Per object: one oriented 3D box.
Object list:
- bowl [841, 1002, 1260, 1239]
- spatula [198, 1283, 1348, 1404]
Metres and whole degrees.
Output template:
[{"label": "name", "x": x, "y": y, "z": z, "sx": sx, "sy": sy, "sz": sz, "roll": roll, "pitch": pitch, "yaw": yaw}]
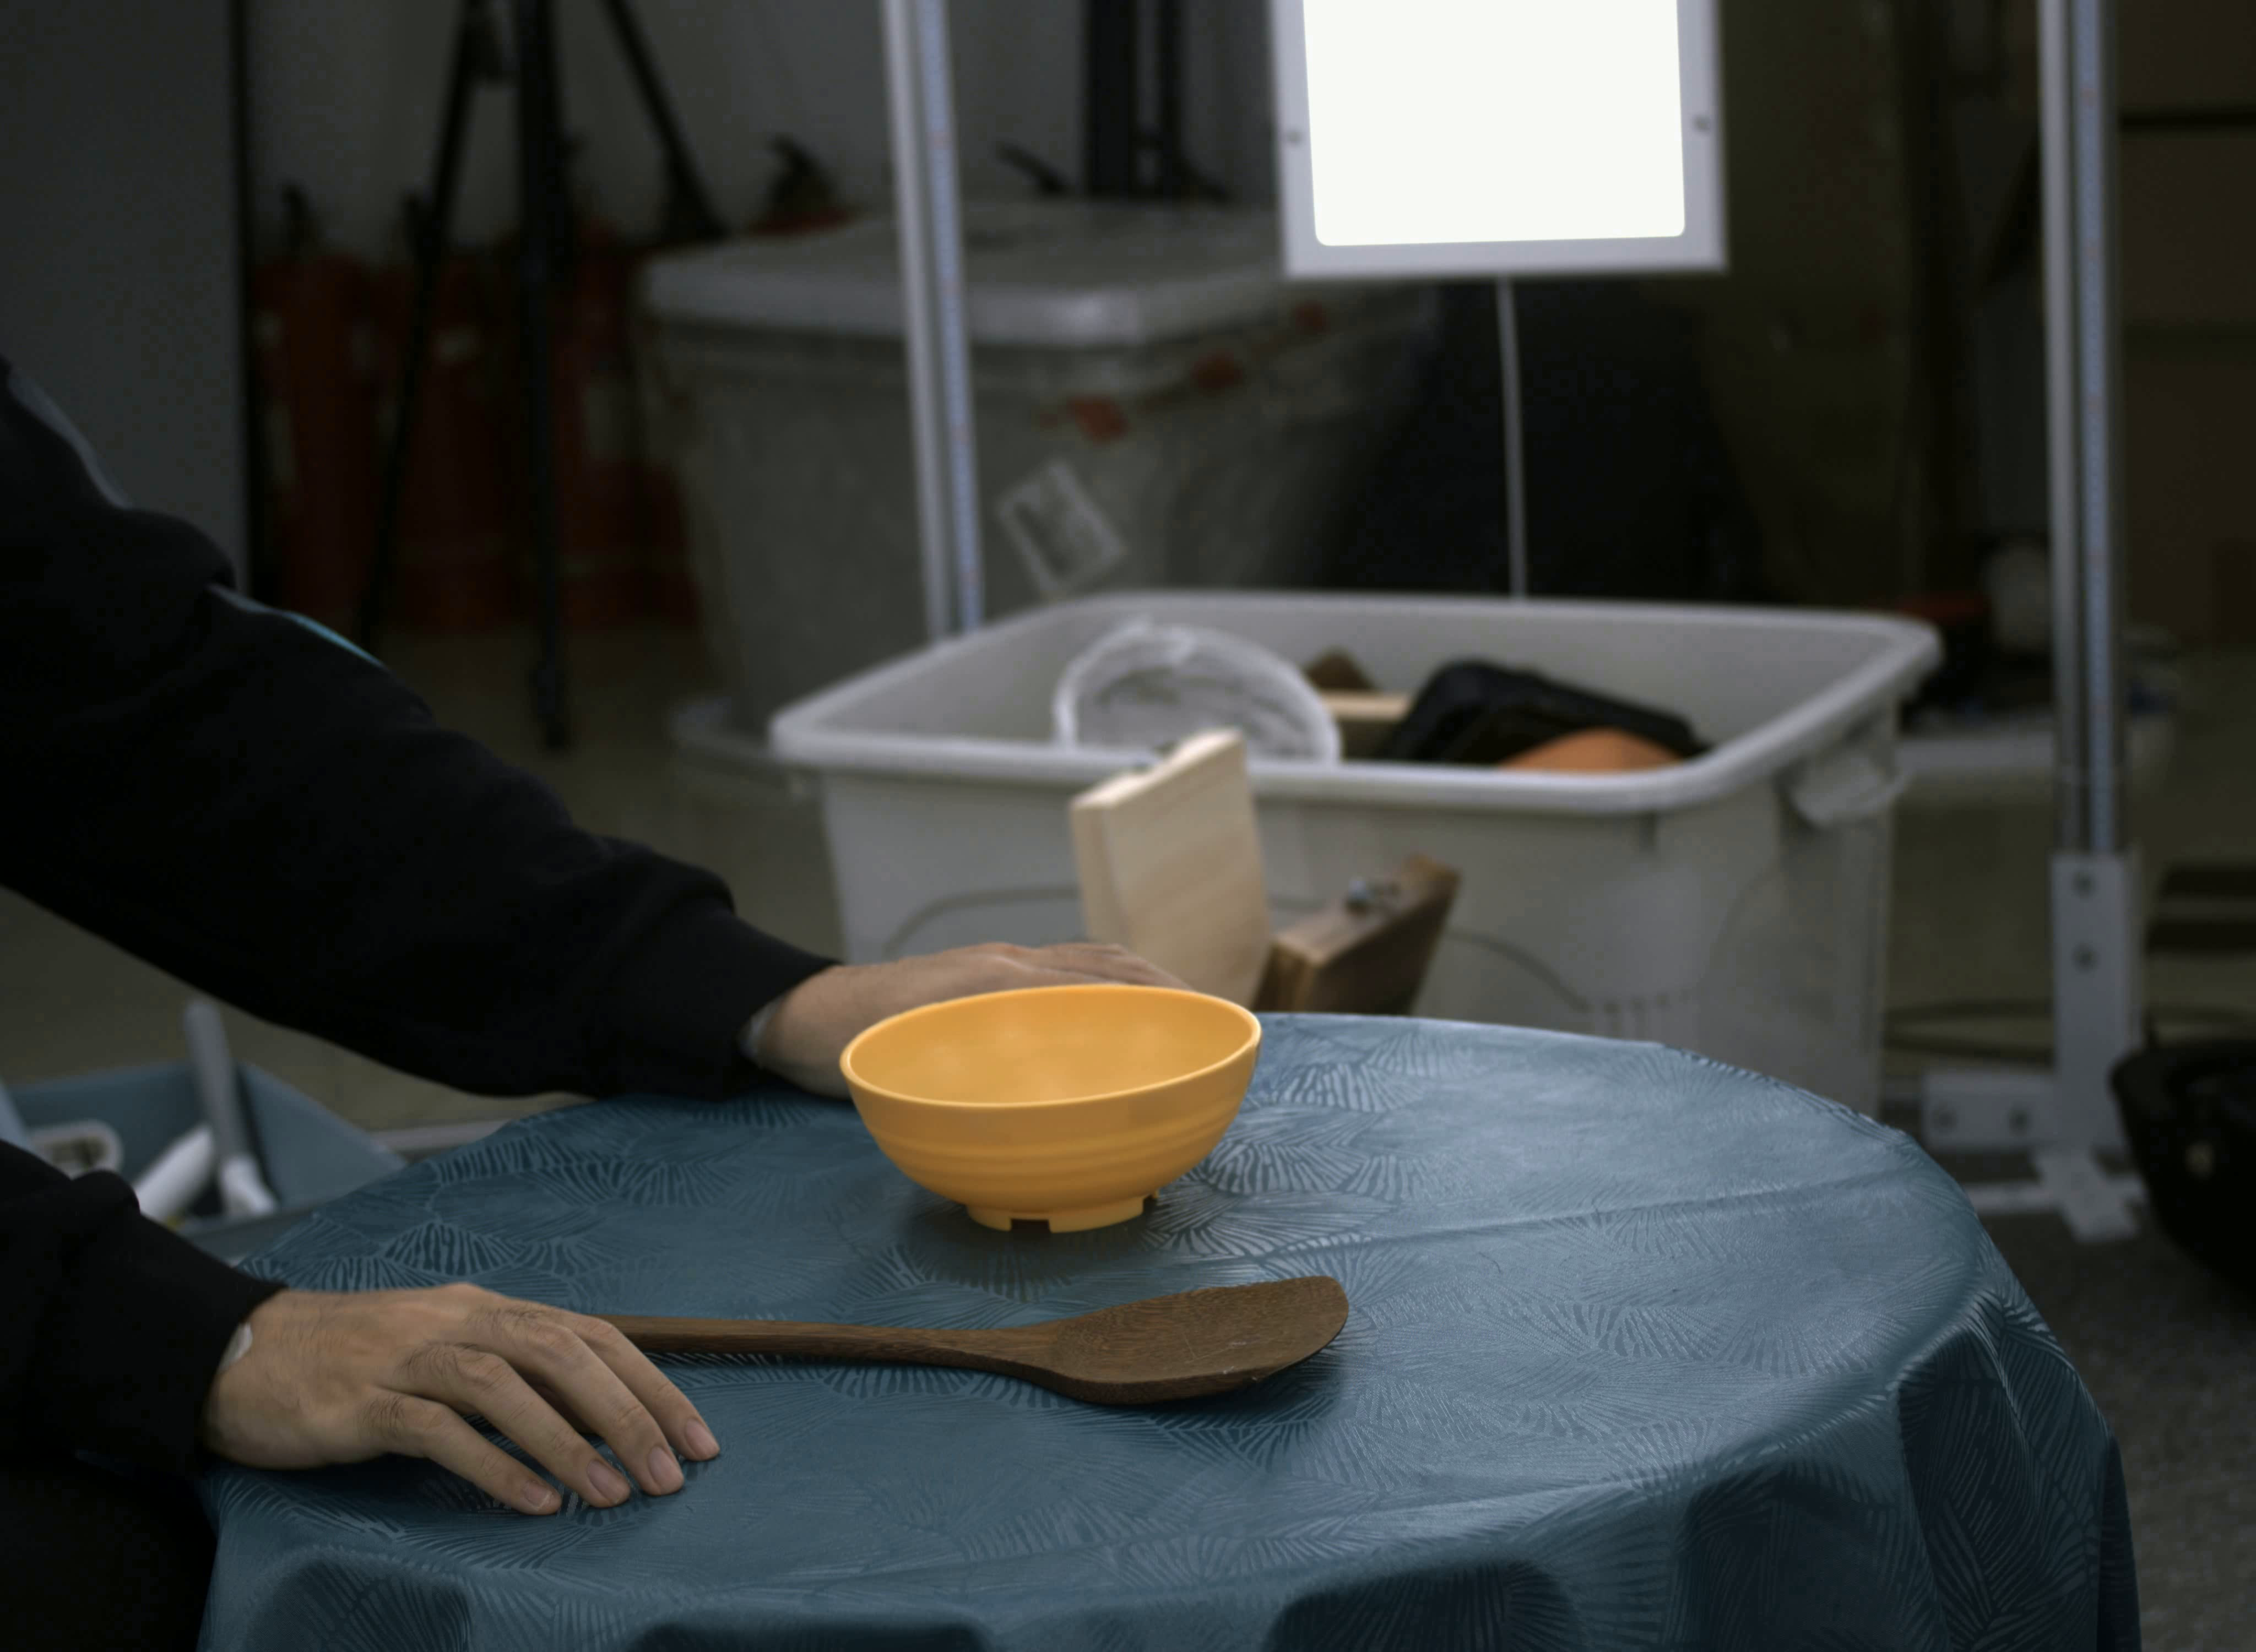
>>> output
[{"label": "bowl", "x": -0.024, "y": 0.104, "z": 1.884, "sx": 0.145, "sy": 0.060, "sz": 0.145, "roll": -5, "pitch": 11, "yaw": 0}, {"label": "spatula", "x": -0.119, "y": 0.163, "z": 1.761, "sx": 0.390, "sy": 0.016, "sz": 0.094, "roll": -1, "pitch": 14, "yaw": 17}]
